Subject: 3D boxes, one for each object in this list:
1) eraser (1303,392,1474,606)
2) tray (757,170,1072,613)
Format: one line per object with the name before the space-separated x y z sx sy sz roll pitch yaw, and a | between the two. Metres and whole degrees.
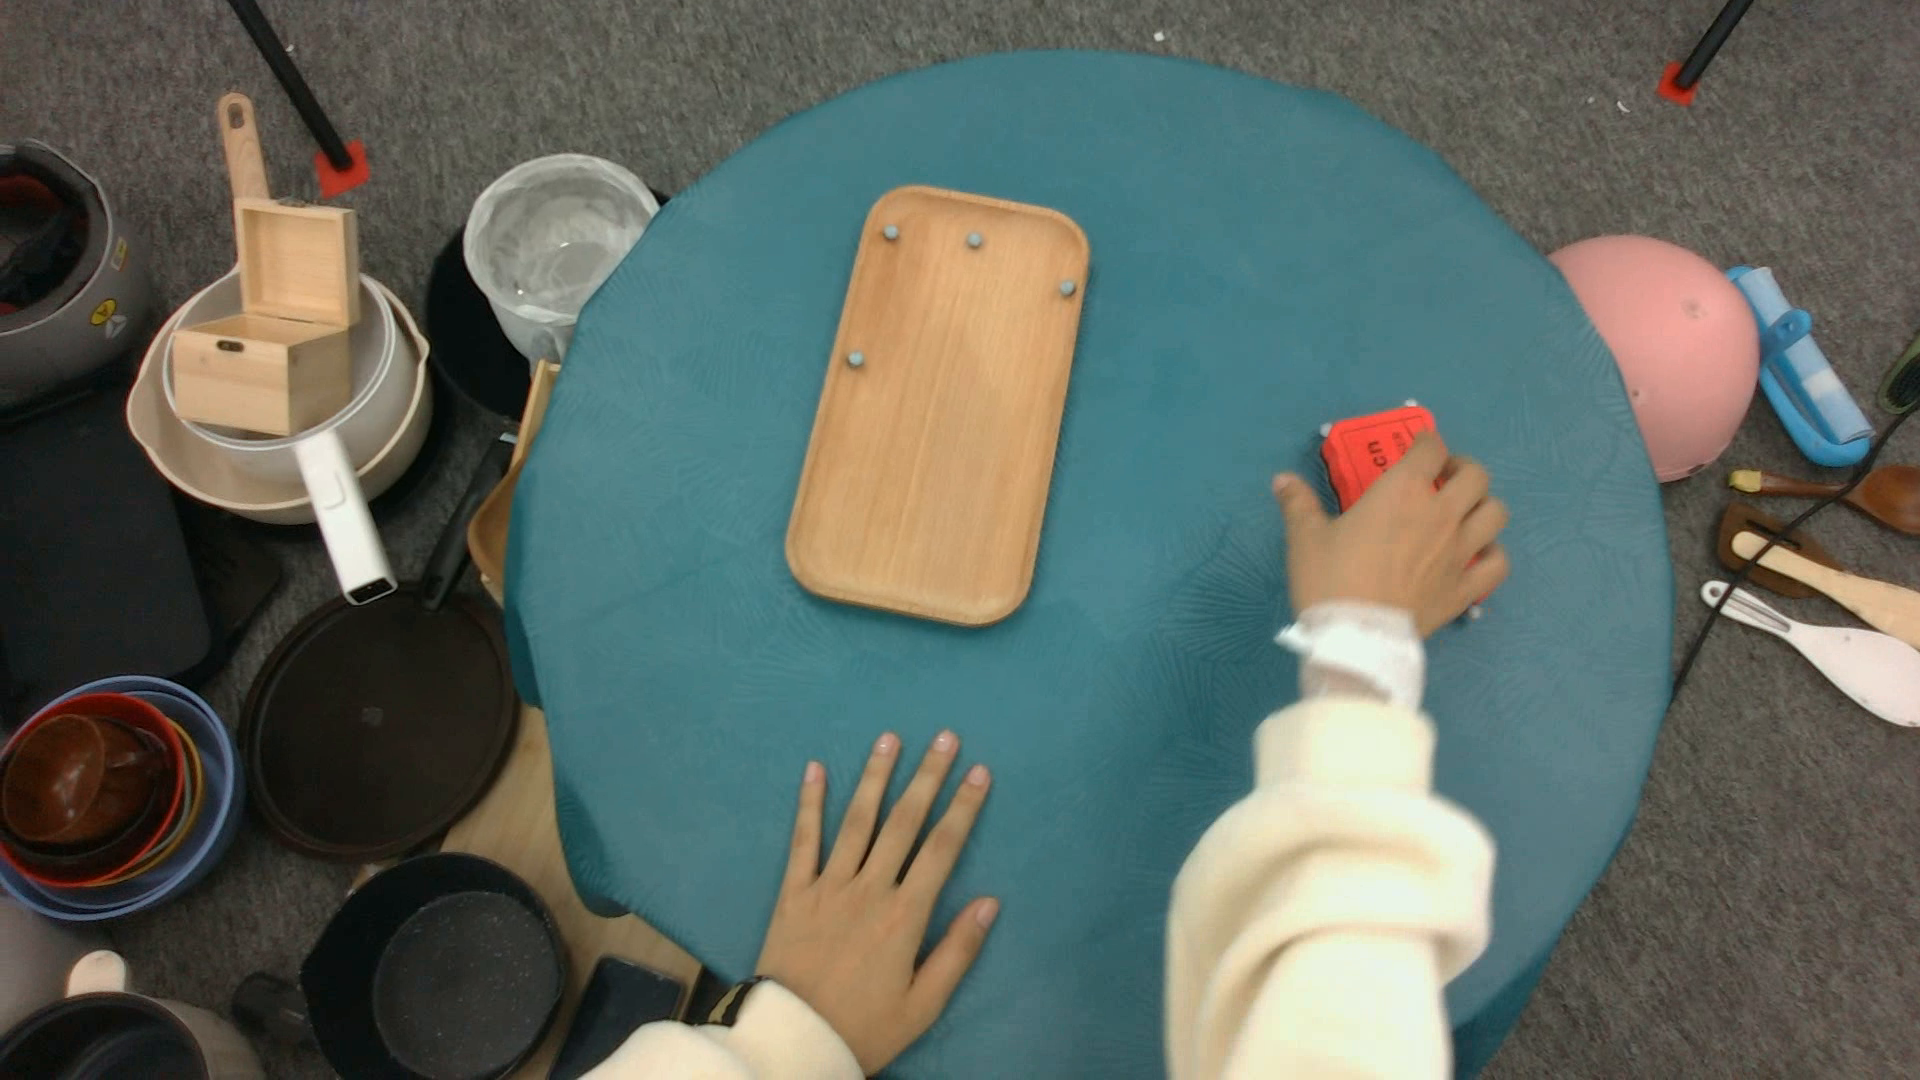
eraser | 0.222 -0.022 0.717 0.059 0.023 0.108 -11 69 -8
tray | -0.020 -0.084 0.732 0.130 0.023 0.251 11 69 4
